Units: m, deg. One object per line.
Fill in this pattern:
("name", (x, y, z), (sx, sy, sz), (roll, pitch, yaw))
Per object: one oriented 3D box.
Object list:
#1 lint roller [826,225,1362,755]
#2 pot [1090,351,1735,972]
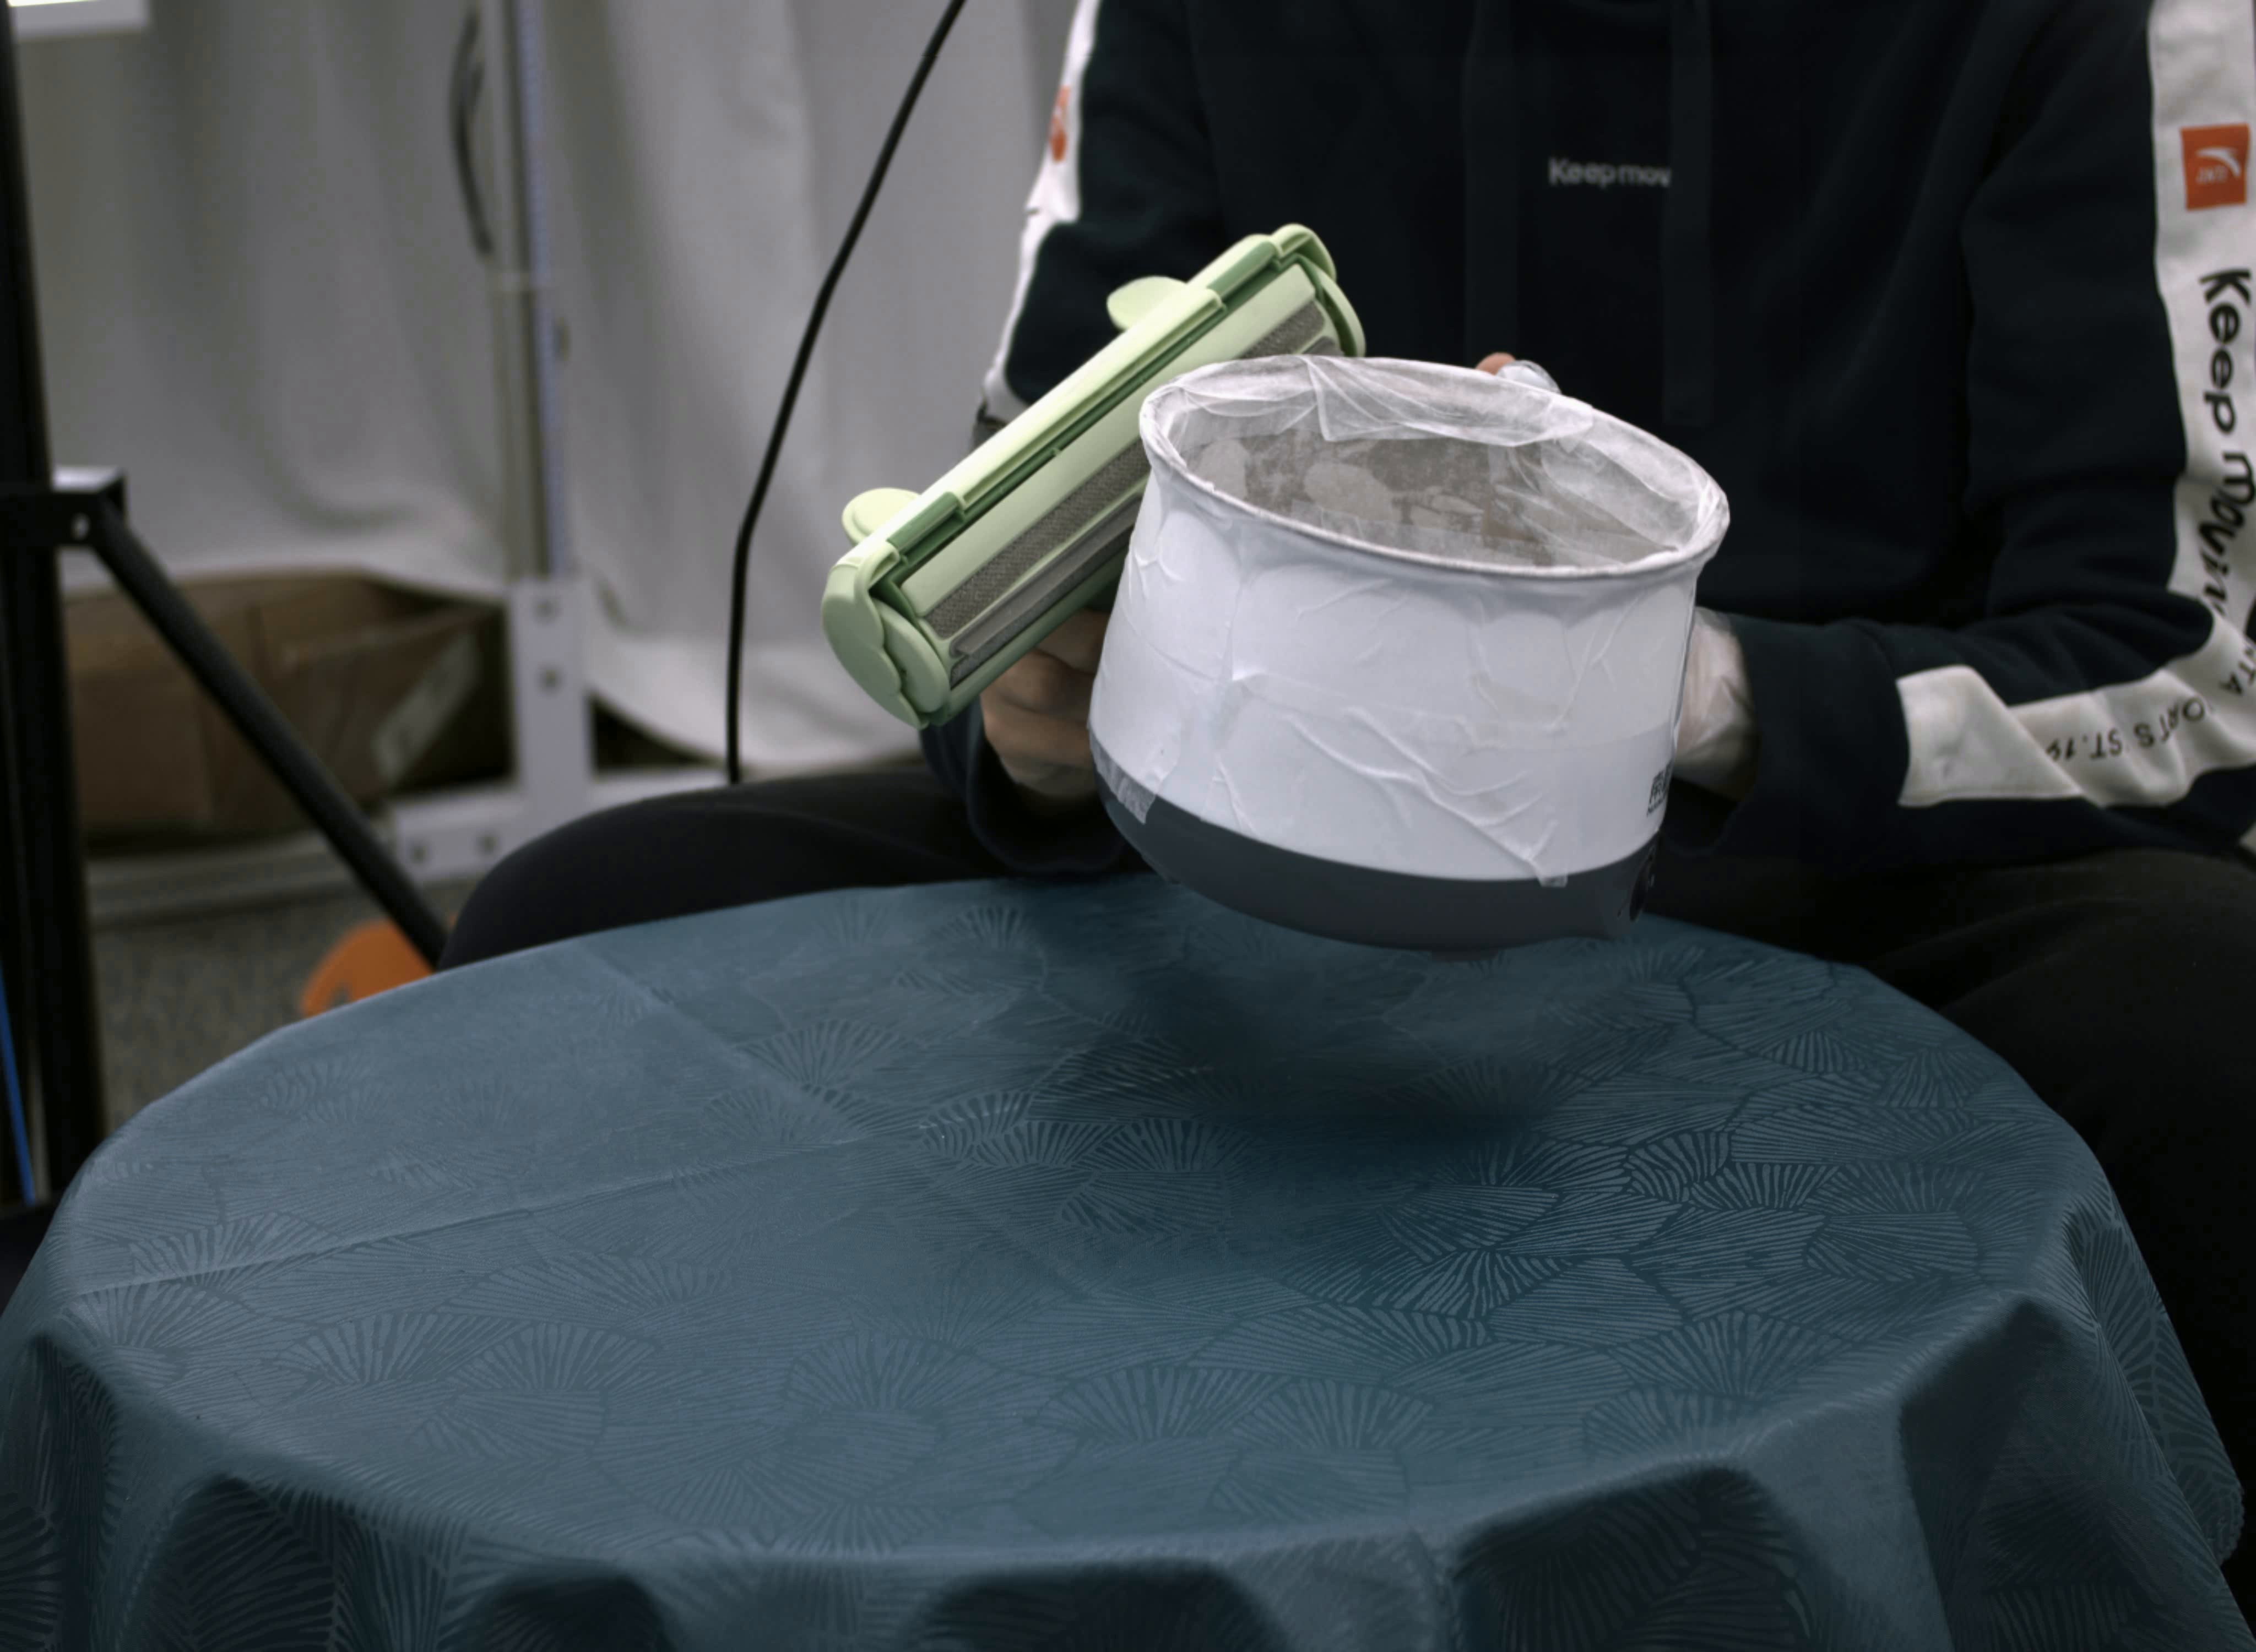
("lint roller", (-0.021, -0.089, 1.689), (0.196, 0.183, 0.083), (-40, 76, -22))
("pot", (0.090, -0.059, 1.612), (0.180, 0.137, 0.231), (16, 25, 15))
